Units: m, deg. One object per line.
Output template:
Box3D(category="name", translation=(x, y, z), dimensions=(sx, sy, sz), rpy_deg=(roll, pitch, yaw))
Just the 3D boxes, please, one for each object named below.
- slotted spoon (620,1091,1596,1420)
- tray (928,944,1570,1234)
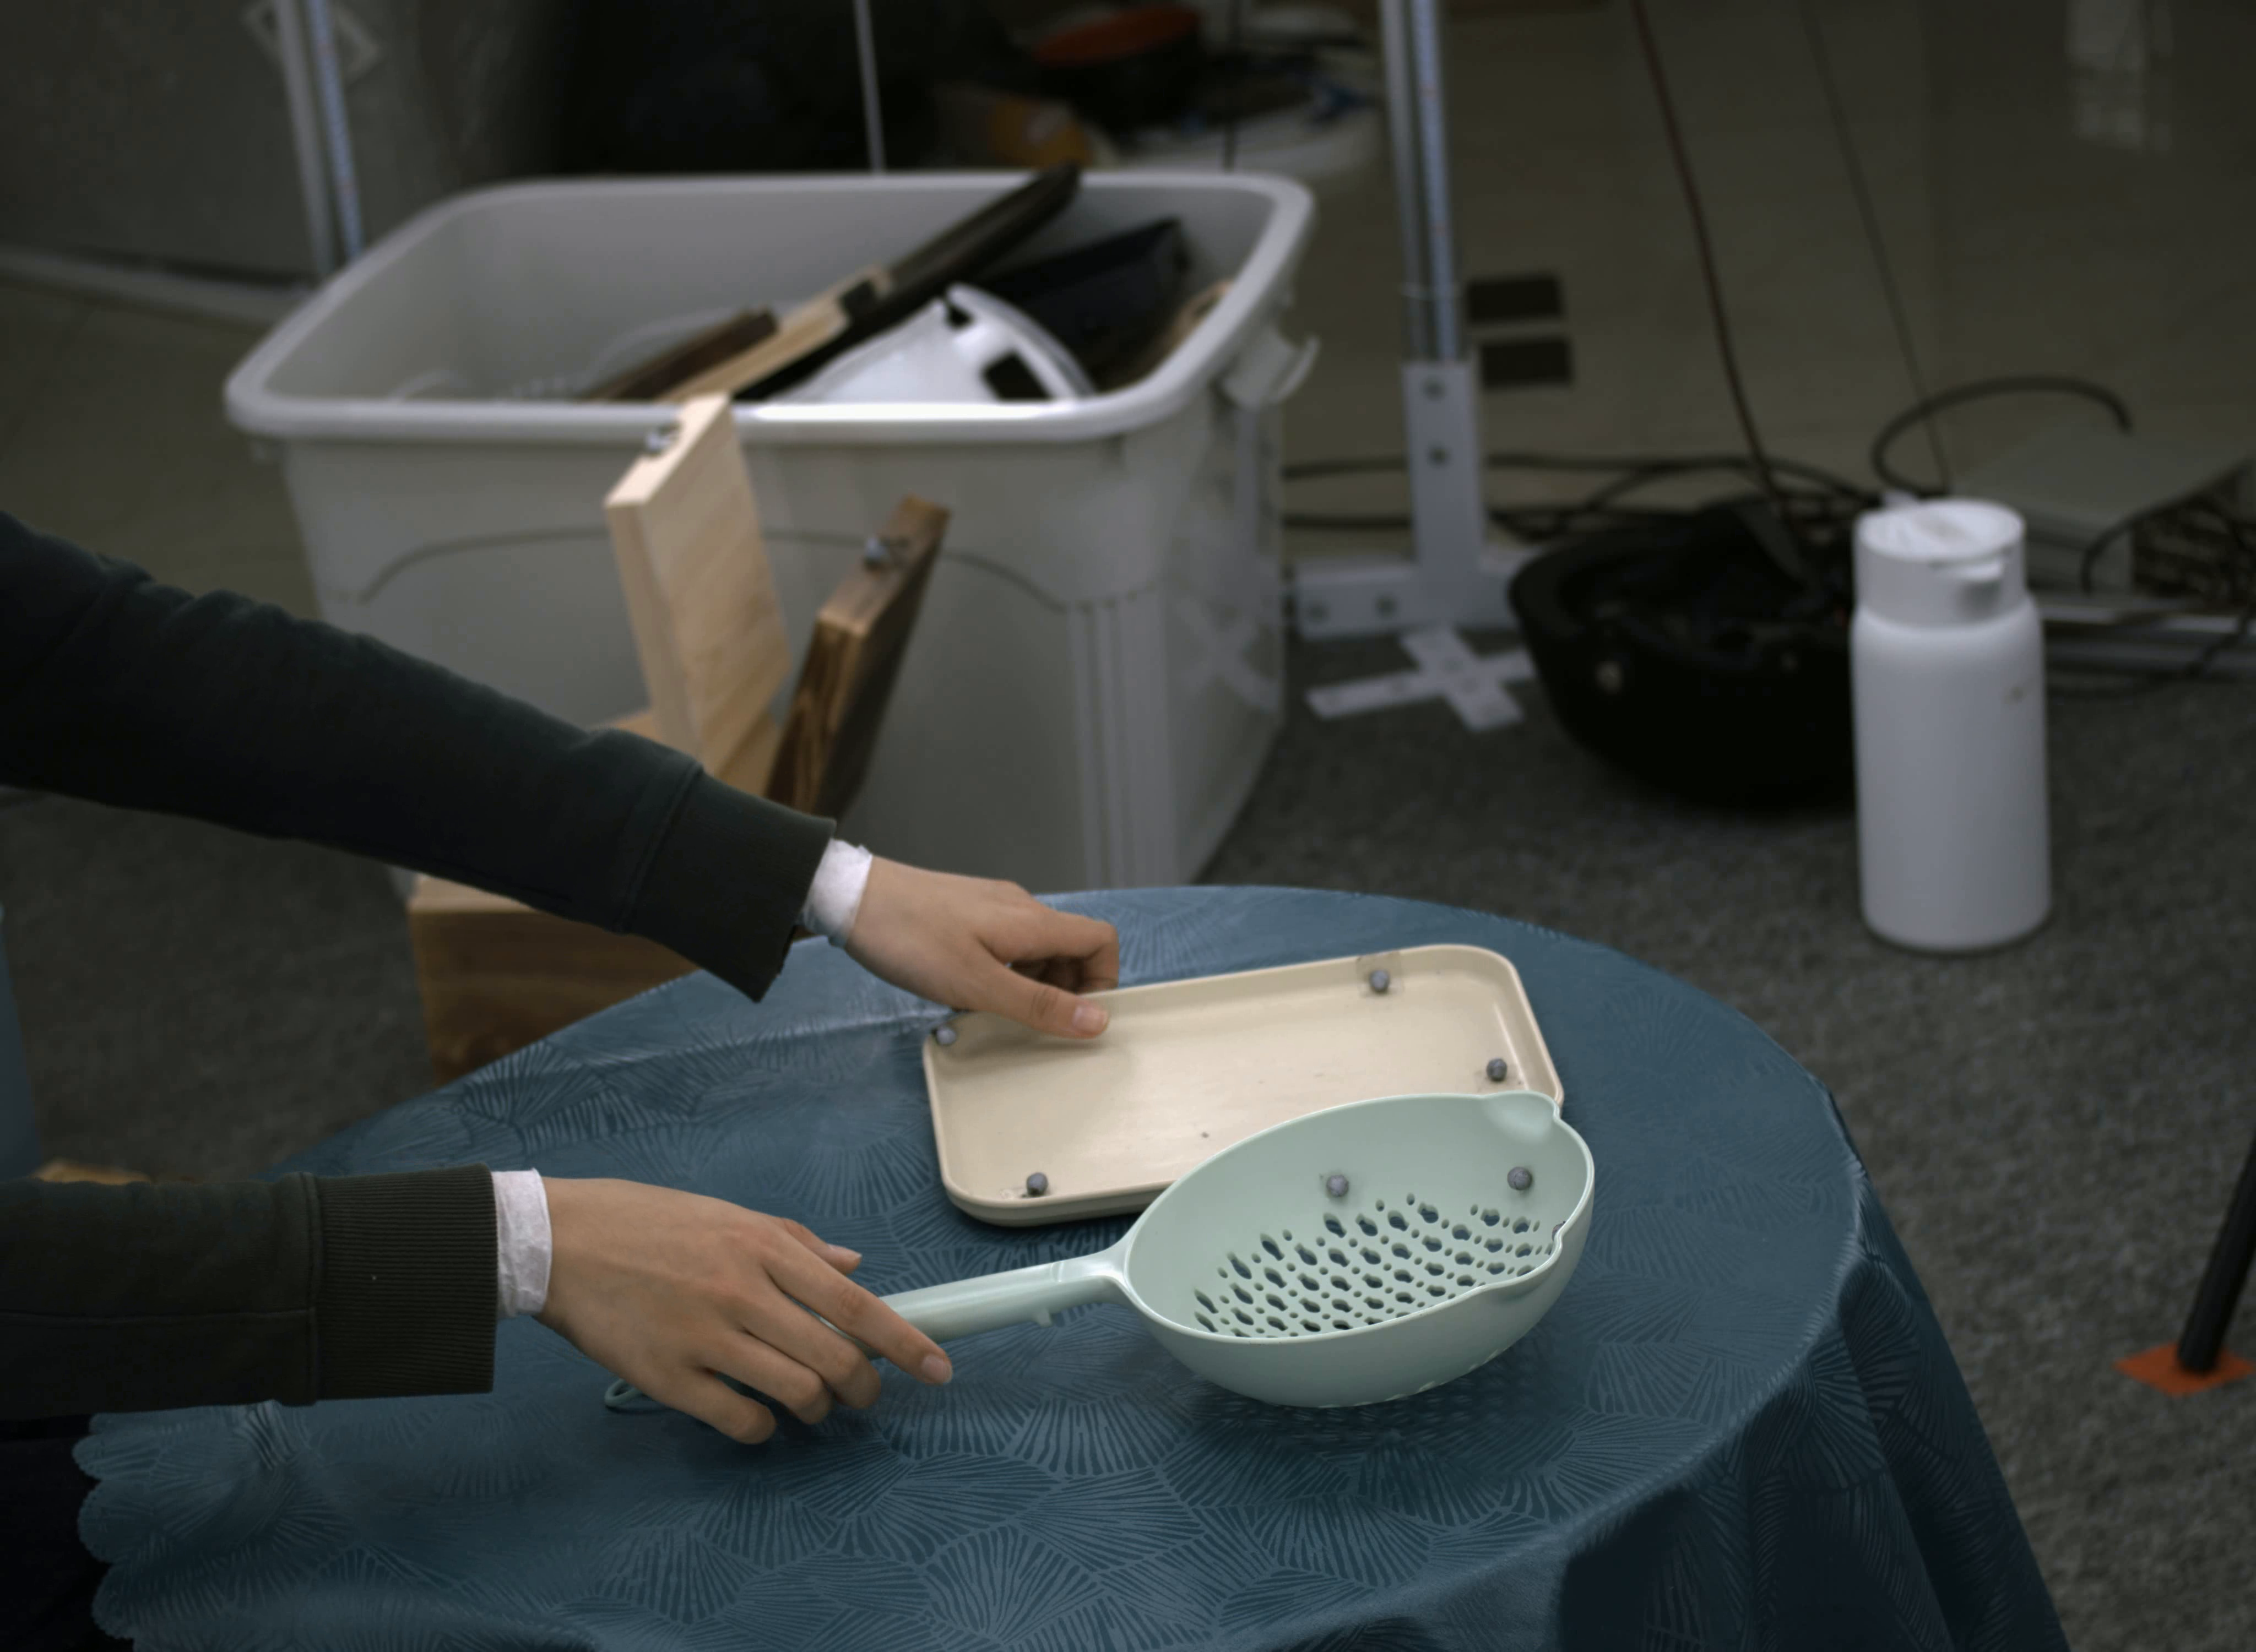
Box3D(category="slotted spoon", translation=(-0.010, 0.167, 2.019), dimensions=(0.358, 0.076, 0.167), rpy_deg=(-4, 24, 6))
Box3D(category="tray", translation=(0.045, 0.103, 2.201), dimensions=(0.239, 0.018, 0.169), rpy_deg=(-9, 25, -3))
